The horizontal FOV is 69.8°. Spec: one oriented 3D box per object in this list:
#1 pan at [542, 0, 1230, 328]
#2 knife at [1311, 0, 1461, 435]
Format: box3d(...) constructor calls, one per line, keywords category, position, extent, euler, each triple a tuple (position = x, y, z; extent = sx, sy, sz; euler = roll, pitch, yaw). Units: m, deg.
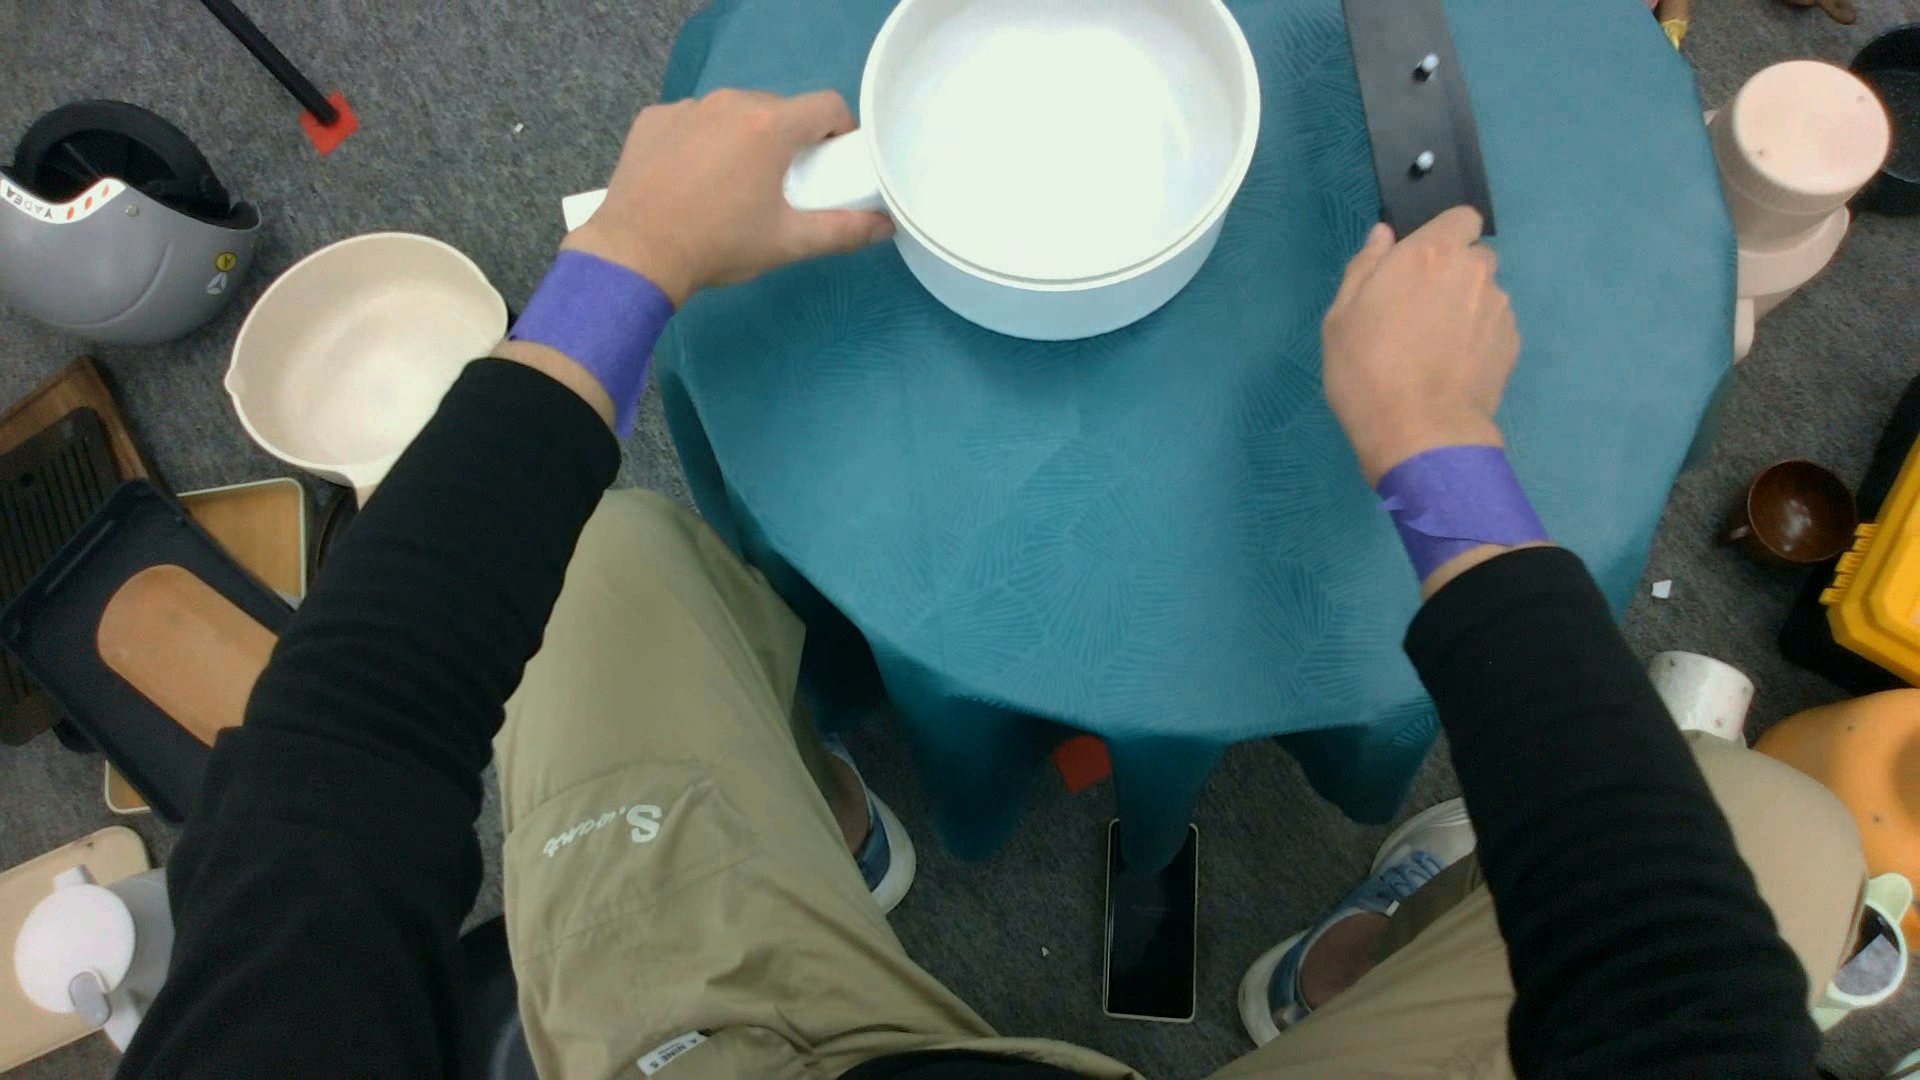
box3d(category="pan", position=(-0.036, -0.196, 0.742), extent=(0.355, 0.102, 0.201), euler=(-15, 76, -1))
box3d(category="knife", position=(0.227, -0.194, 0.721), extent=(0.081, 0.021, 0.303), euler=(6, 67, -14))
